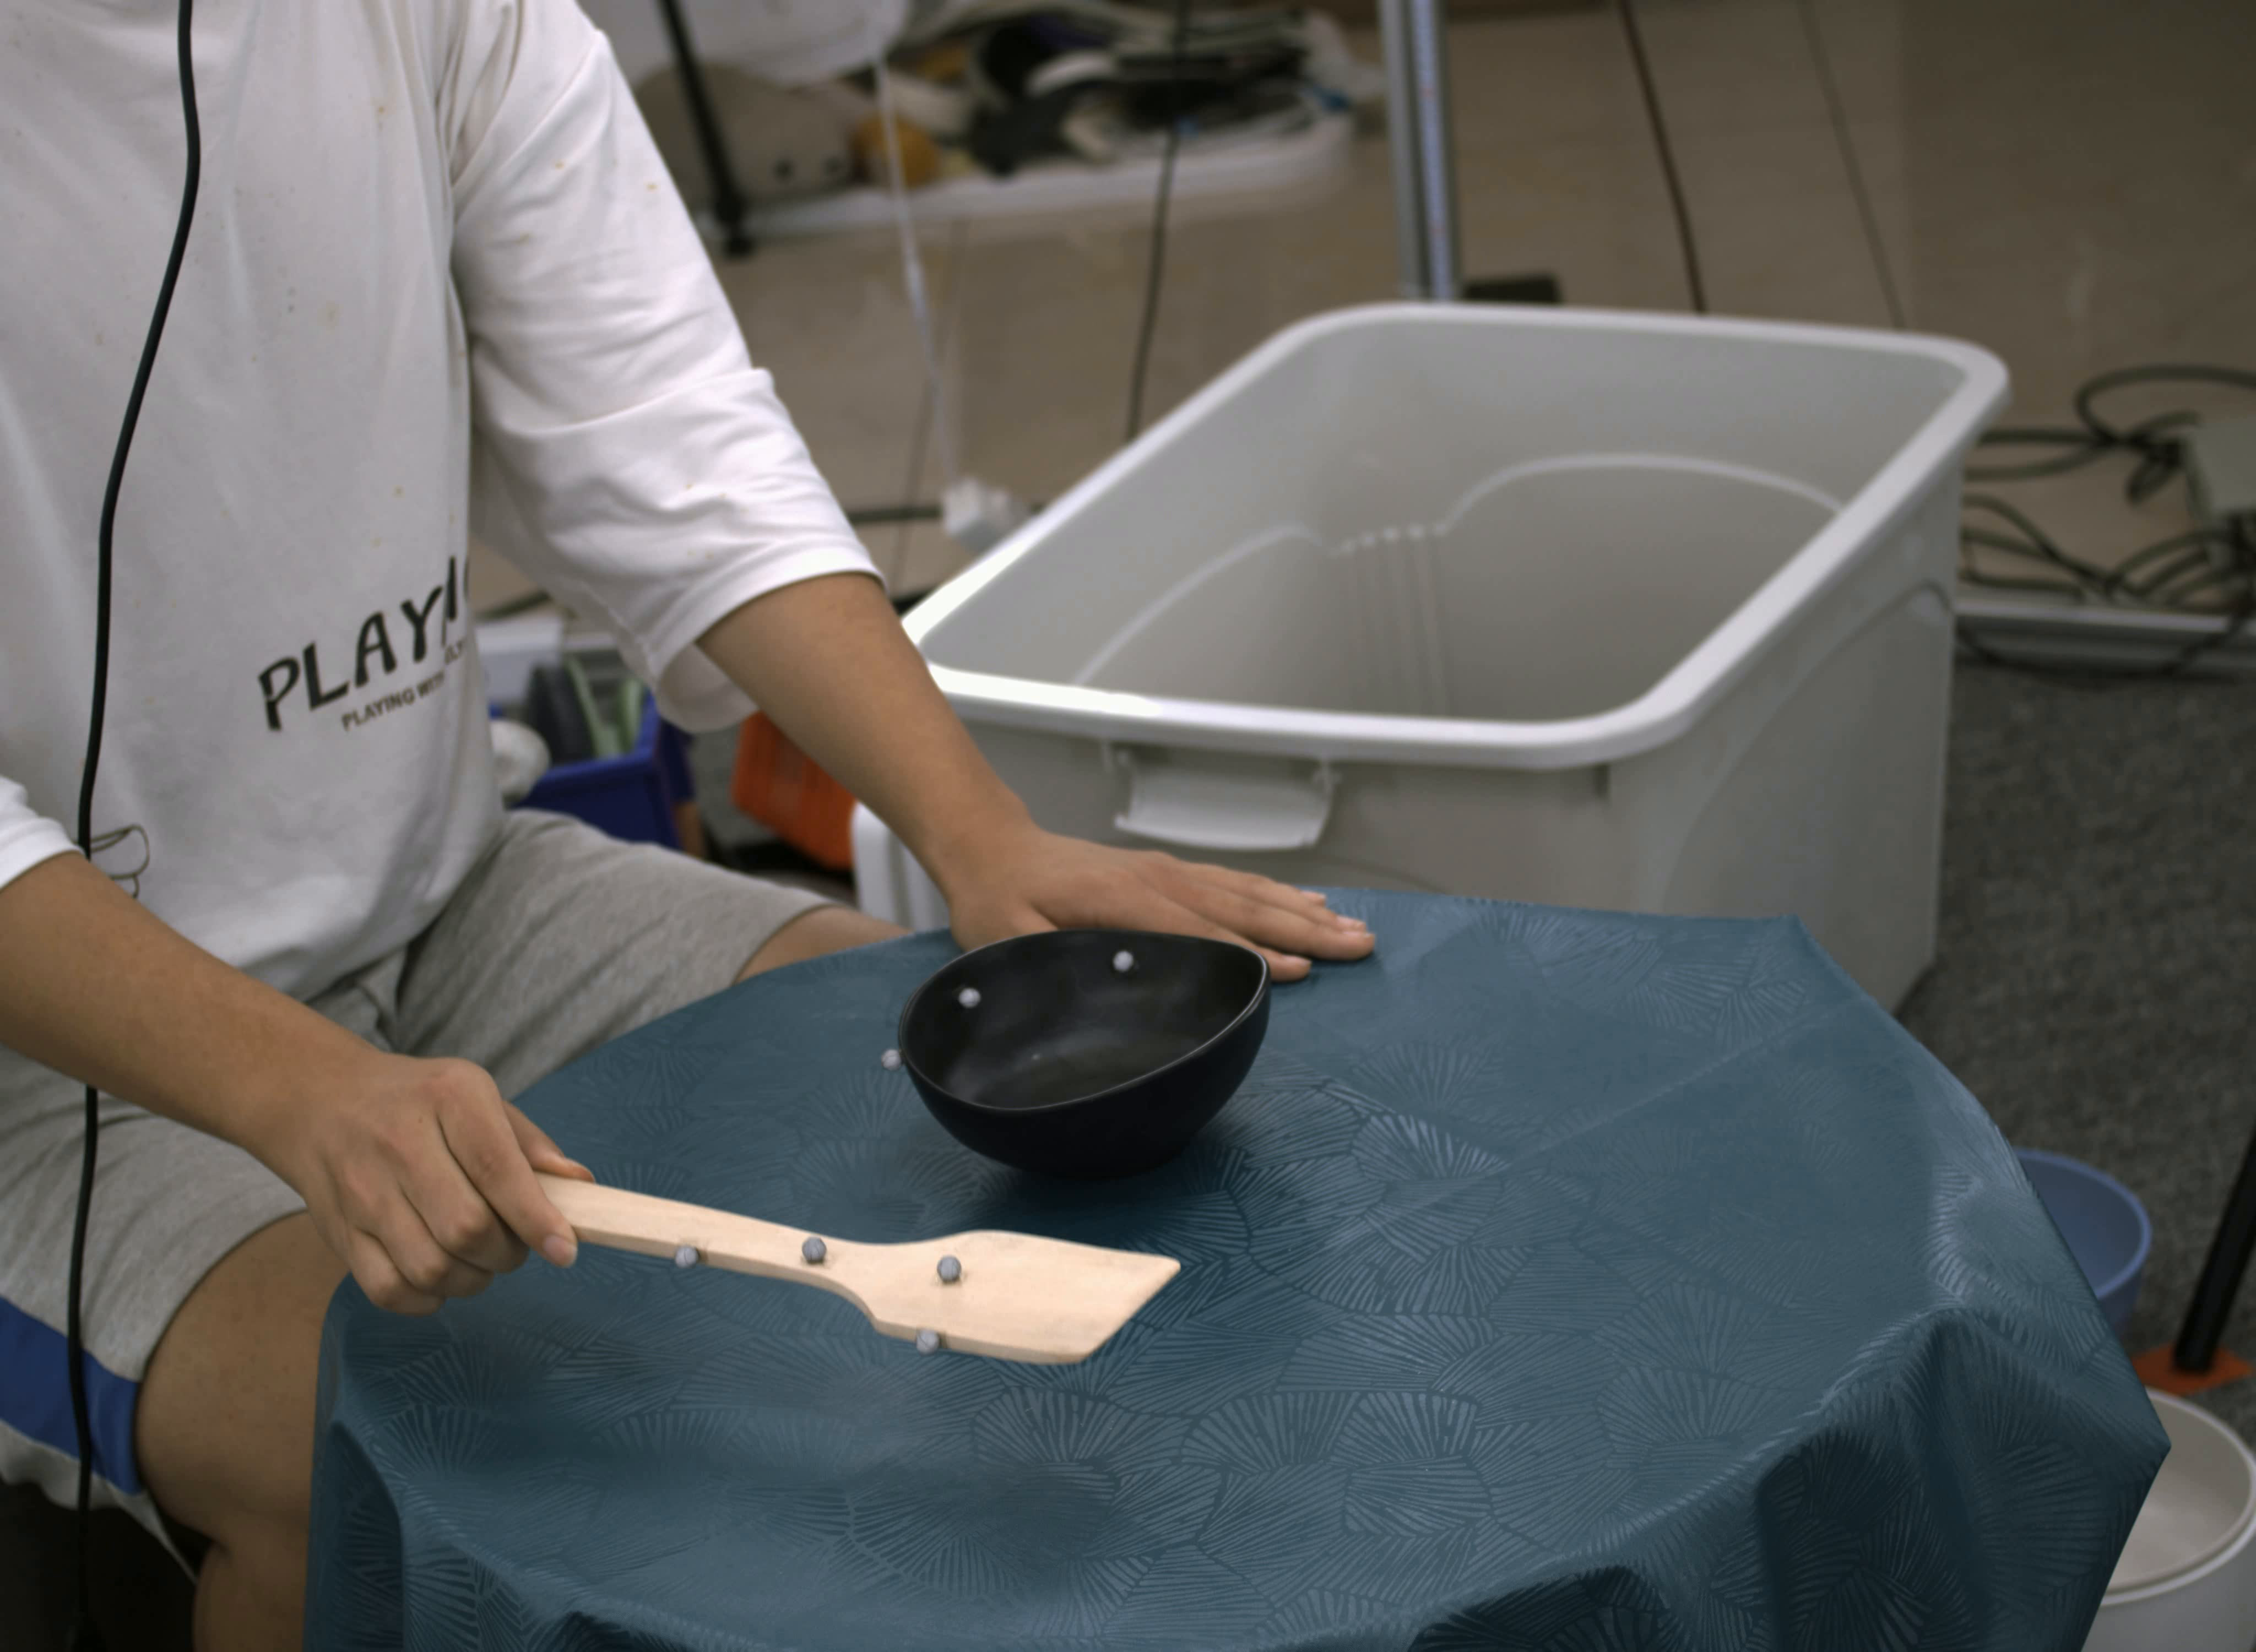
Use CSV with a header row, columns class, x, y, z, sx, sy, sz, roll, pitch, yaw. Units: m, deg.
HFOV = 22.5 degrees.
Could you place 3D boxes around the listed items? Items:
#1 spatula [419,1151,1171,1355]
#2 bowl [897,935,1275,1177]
class,x,y,z,sx,sy,sz,roll,pitch,yaw
spatula,-0.126,0.144,1.979,0.292,0.011,0.071,8,29,28
bowl,-0.013,0.092,2.174,0.137,0.068,0.168,6,26,26
